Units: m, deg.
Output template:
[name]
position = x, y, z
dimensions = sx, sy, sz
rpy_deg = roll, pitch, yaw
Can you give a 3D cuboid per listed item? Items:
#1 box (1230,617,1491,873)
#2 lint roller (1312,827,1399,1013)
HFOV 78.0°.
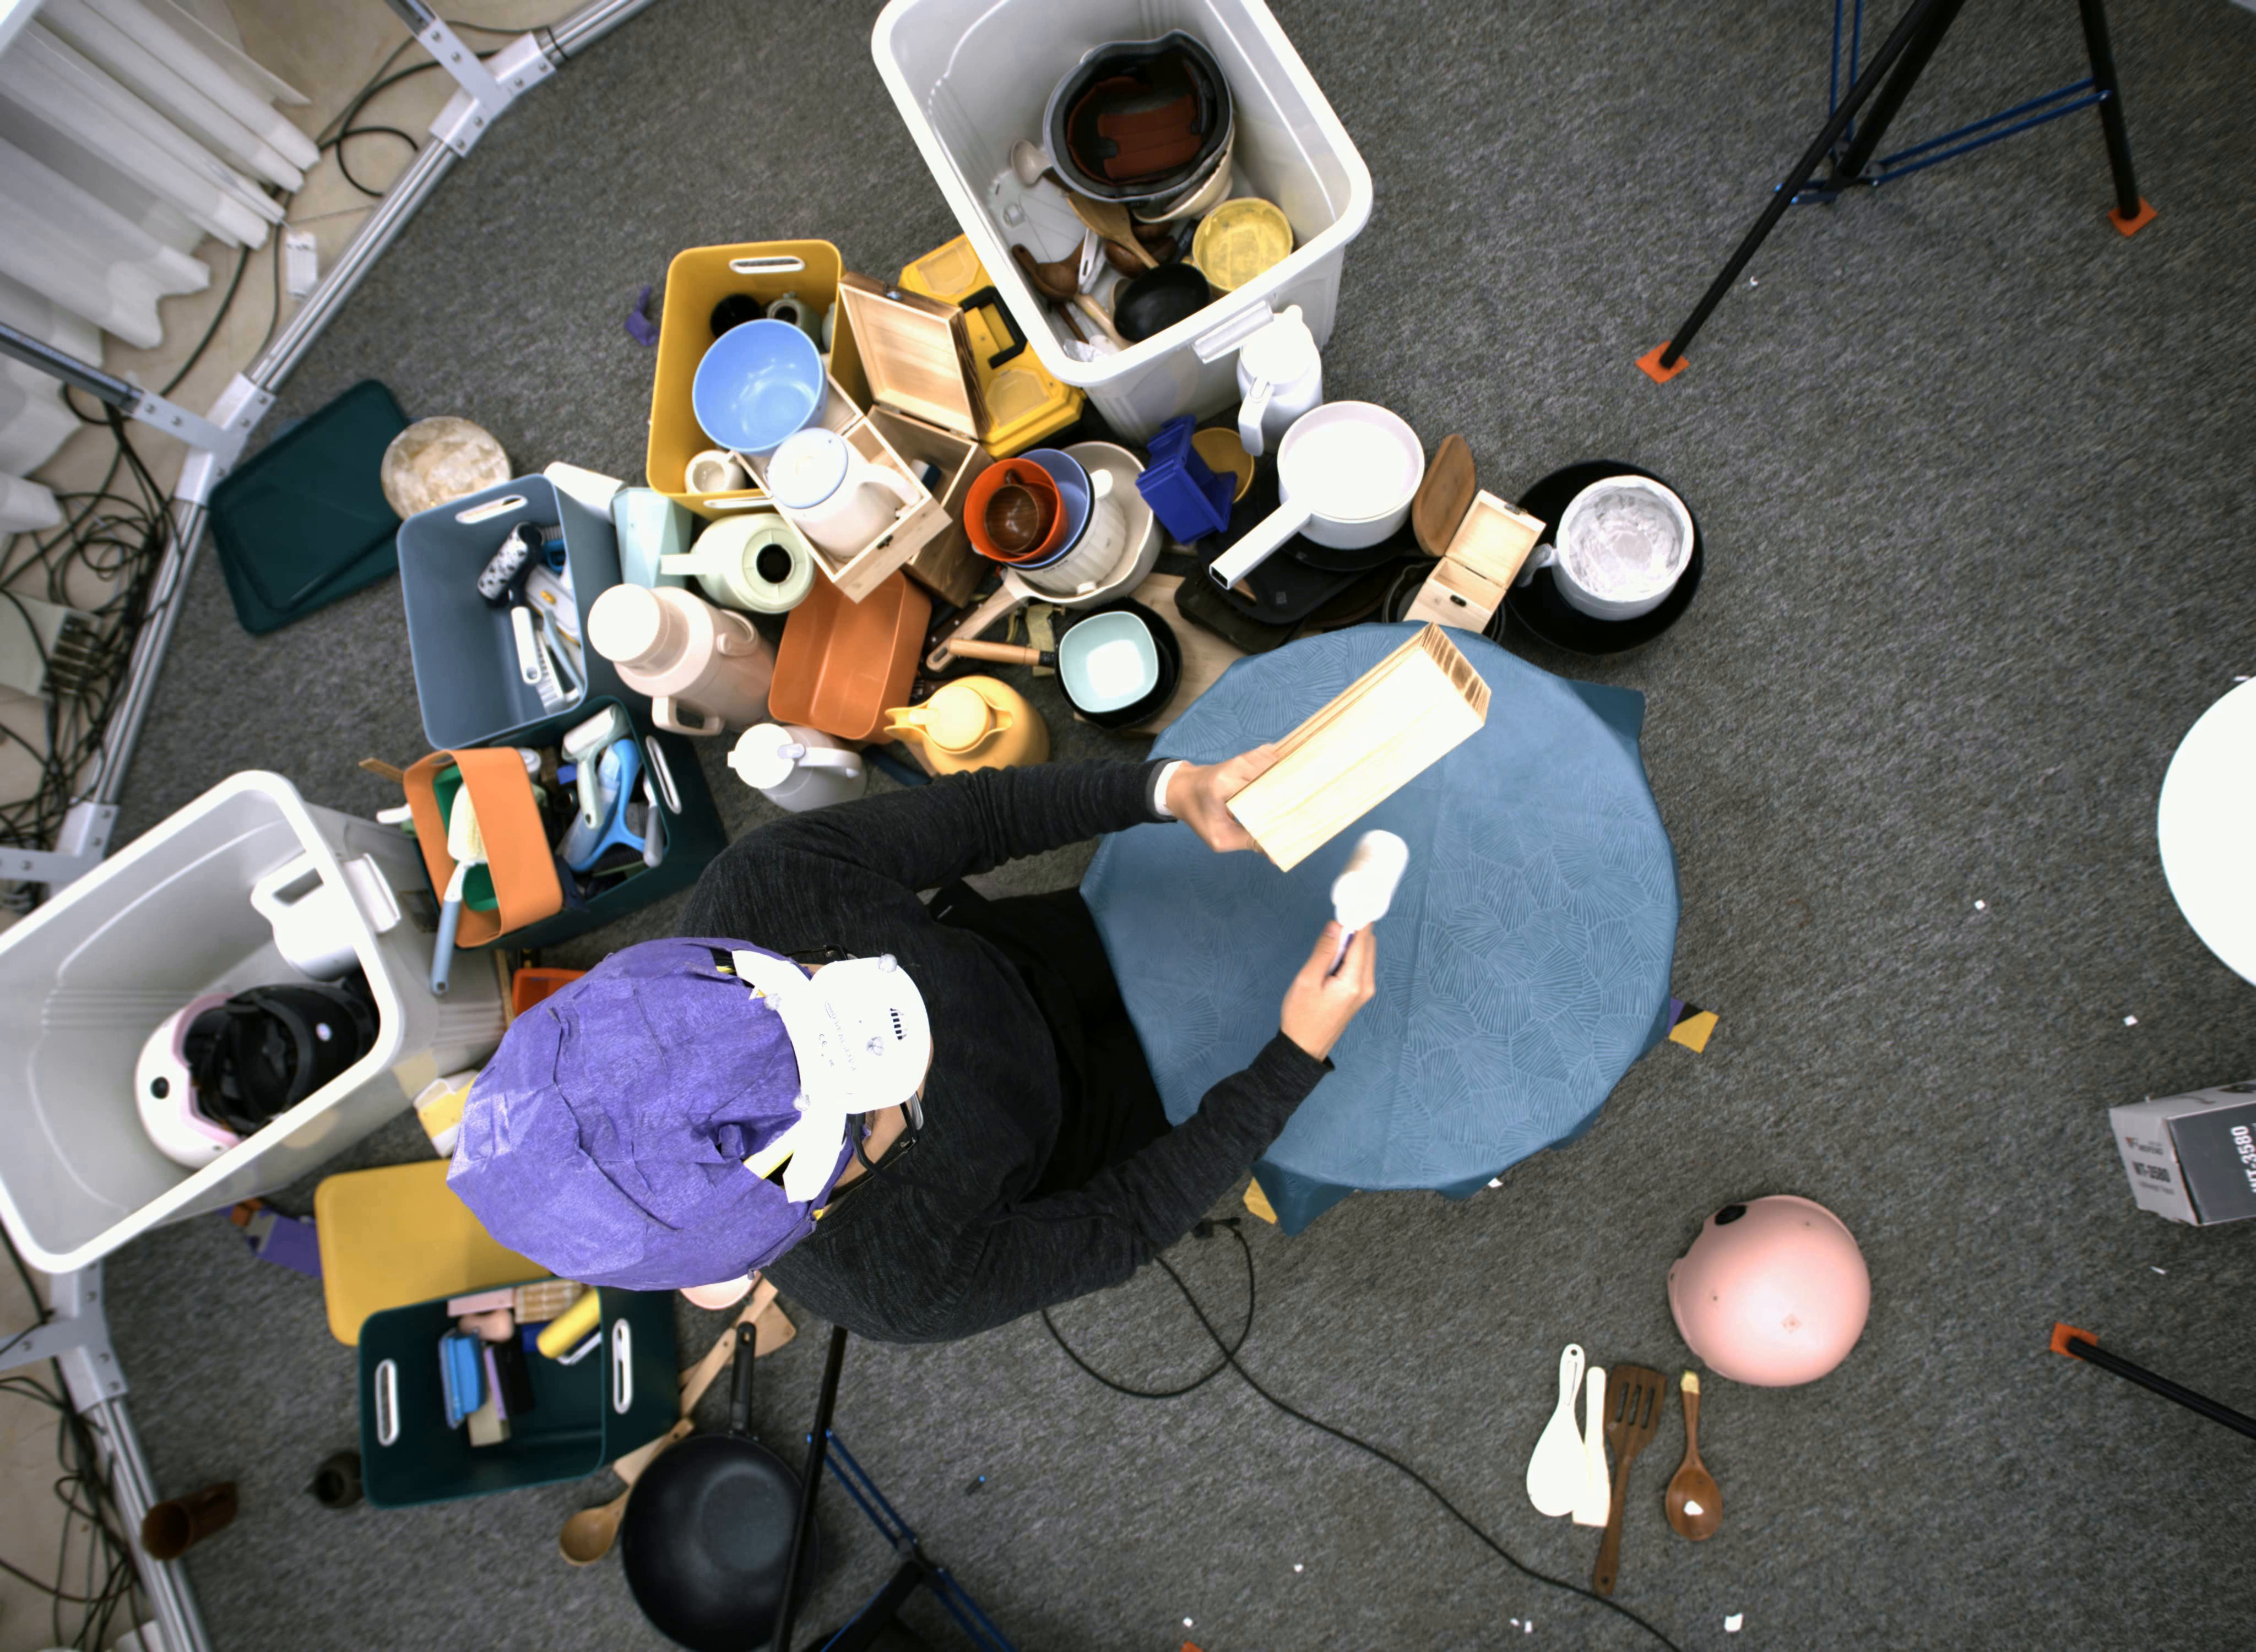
[box]
position = 0.196, -0.069, 1.158
dimensions = 0.080, 0.105, 0.215
rpy_deg = 46, 118, -5
[lint roller]
position = 0.204, 0.099, 1.268
dimensions = 0.050, 0.130, 0.184
rpy_deg = 13, 117, 17
